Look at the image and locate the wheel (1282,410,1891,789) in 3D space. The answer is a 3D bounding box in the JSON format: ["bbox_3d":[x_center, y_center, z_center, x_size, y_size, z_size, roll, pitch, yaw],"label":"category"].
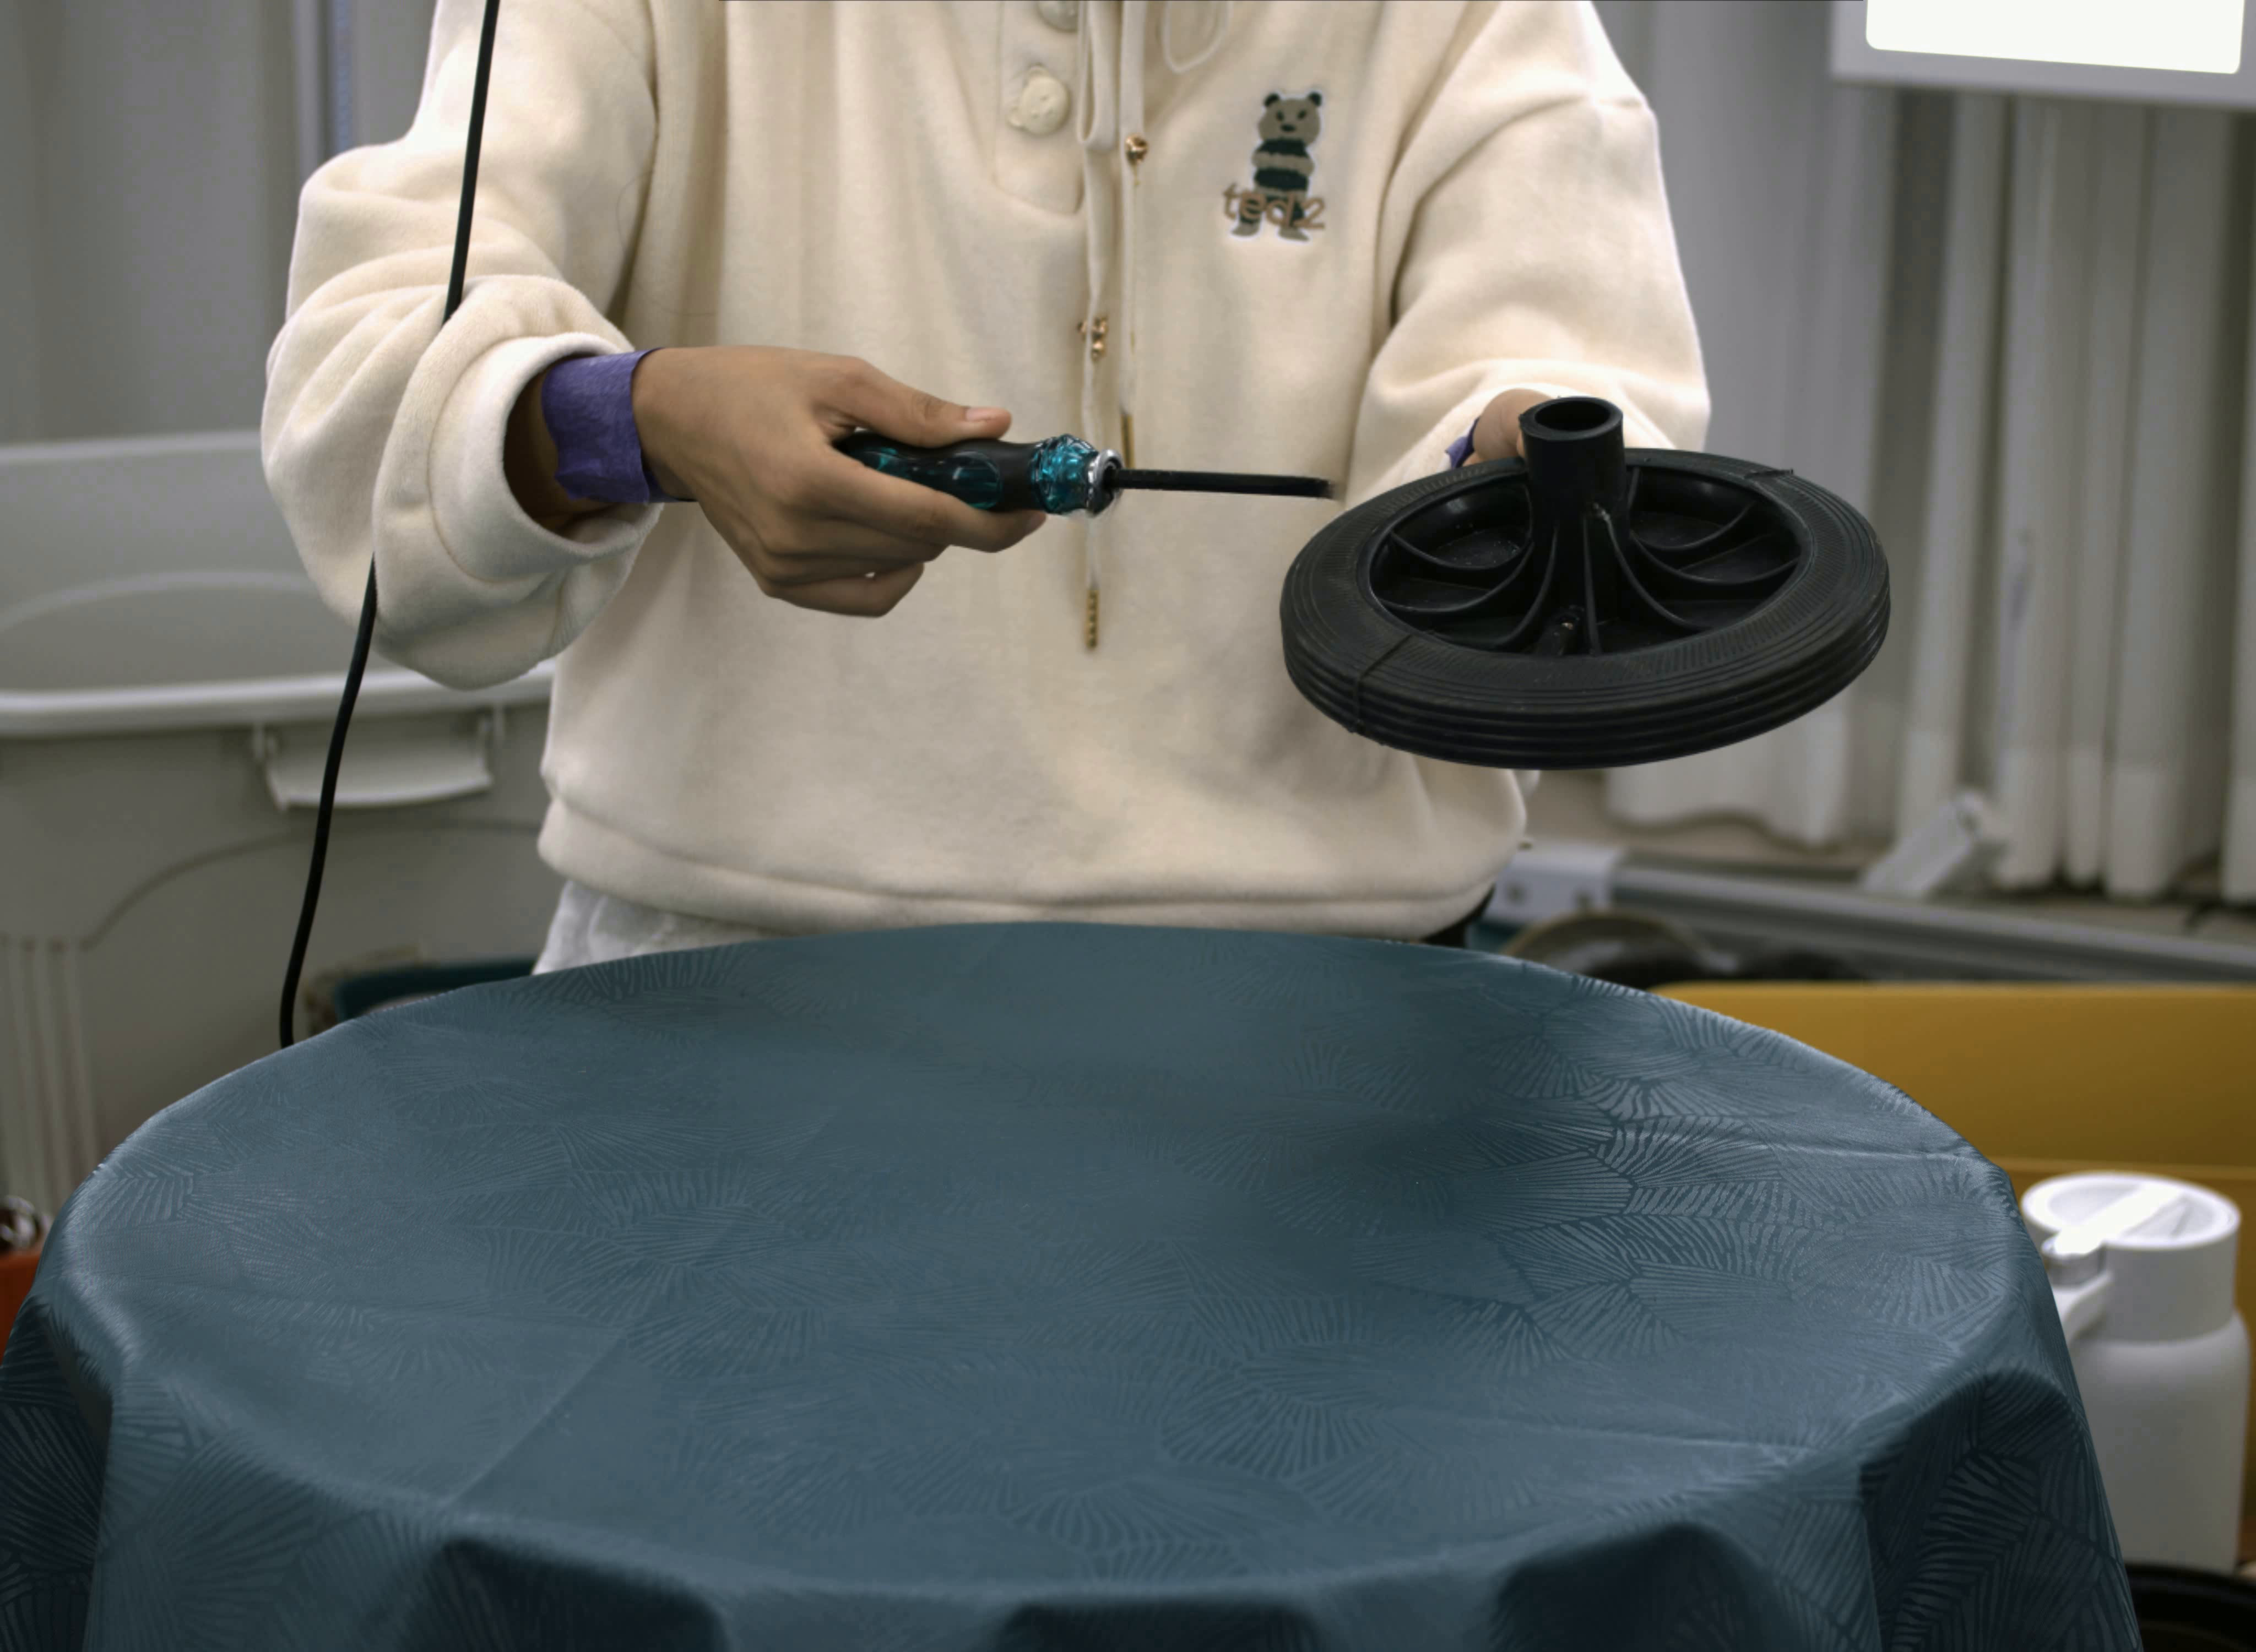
[{"bbox_3d":[0.139,-0.085,1.613,0.187,0.080,0.188,-7,31,-2],"label":"wheel"}]

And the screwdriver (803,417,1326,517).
[{"bbox_3d":[-0.020,-0.111,1.675,0.188,0.034,0.034,5,16,29],"label":"screwdriver"}]
